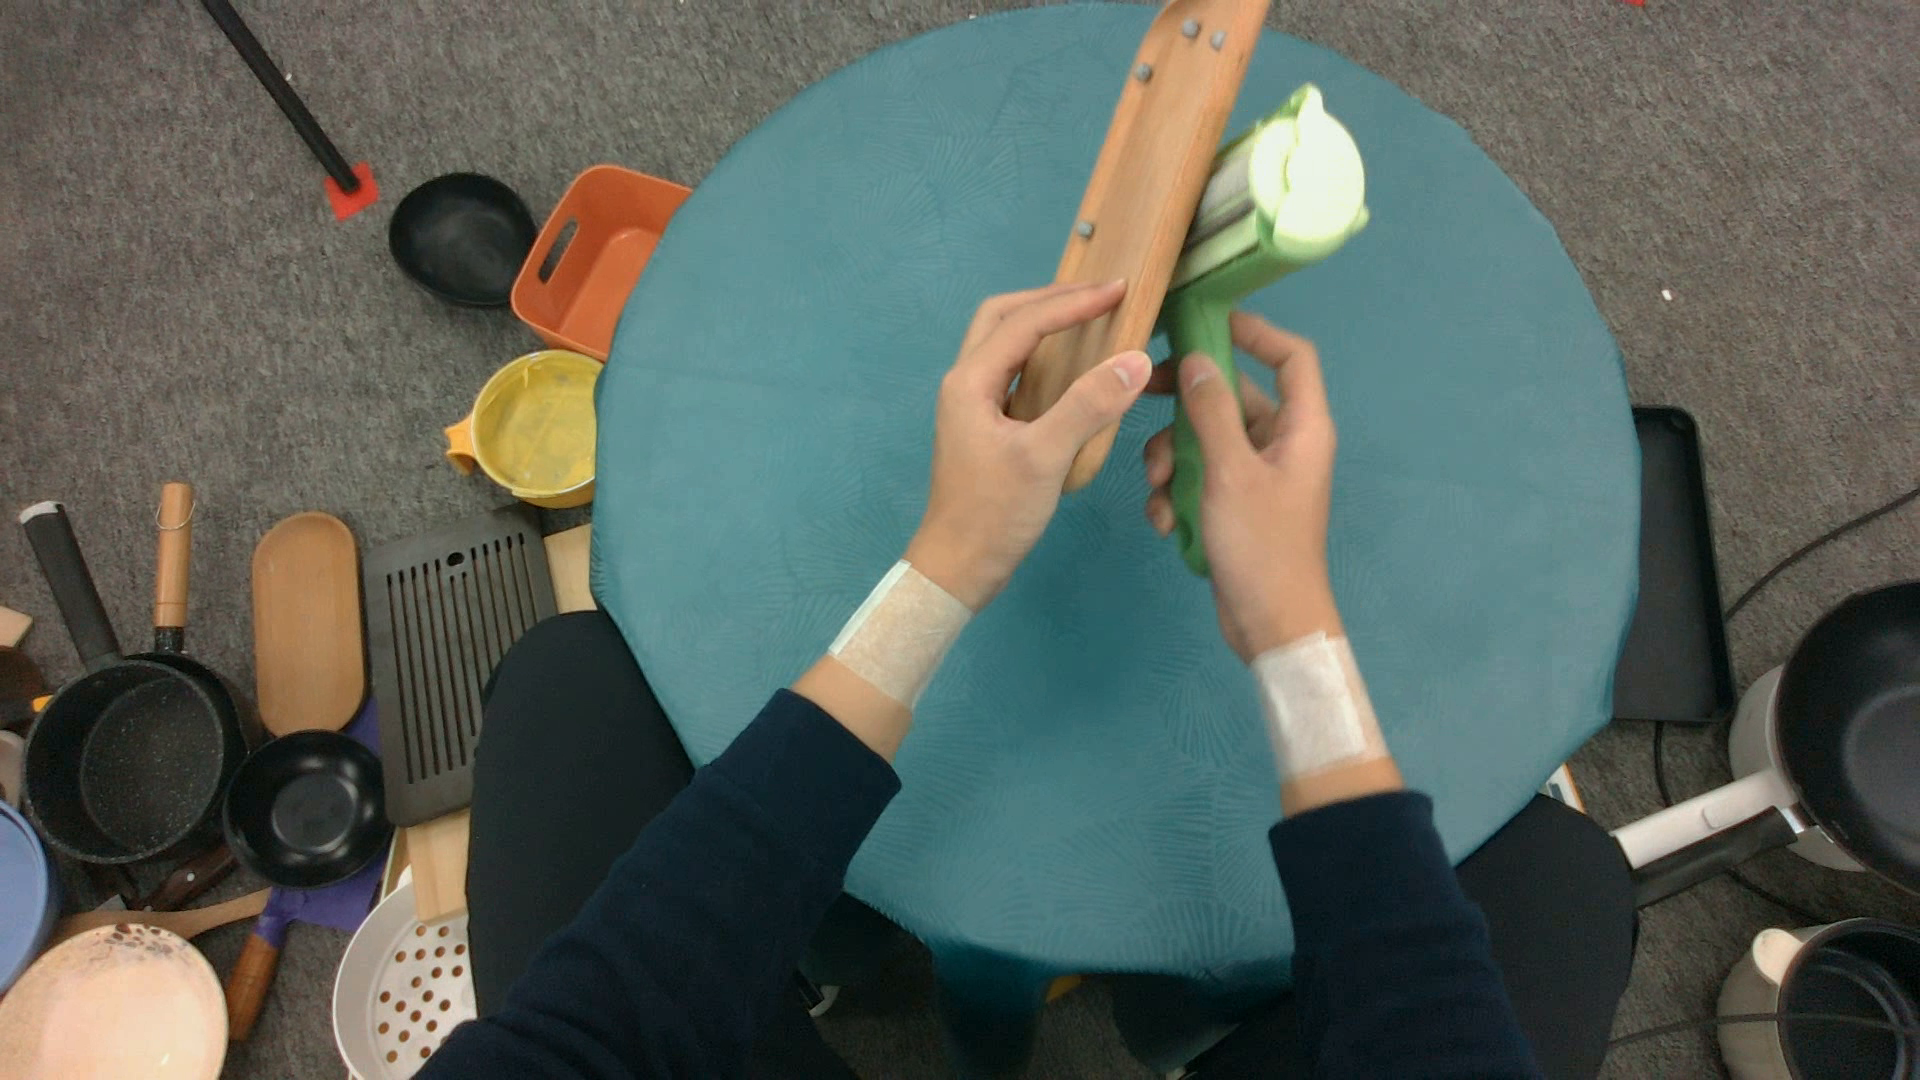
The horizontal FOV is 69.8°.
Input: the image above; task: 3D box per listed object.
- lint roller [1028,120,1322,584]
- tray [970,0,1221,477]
[{"bbox_3d":[0.112,-0.076,0.641,0.082,0.198,0.183,-18,93,-21],"label":"lint roller"},{"bbox_3d":[0.061,-0.149,0.630,0.023,0.130,0.250,16,91,-15],"label":"tray"}]
